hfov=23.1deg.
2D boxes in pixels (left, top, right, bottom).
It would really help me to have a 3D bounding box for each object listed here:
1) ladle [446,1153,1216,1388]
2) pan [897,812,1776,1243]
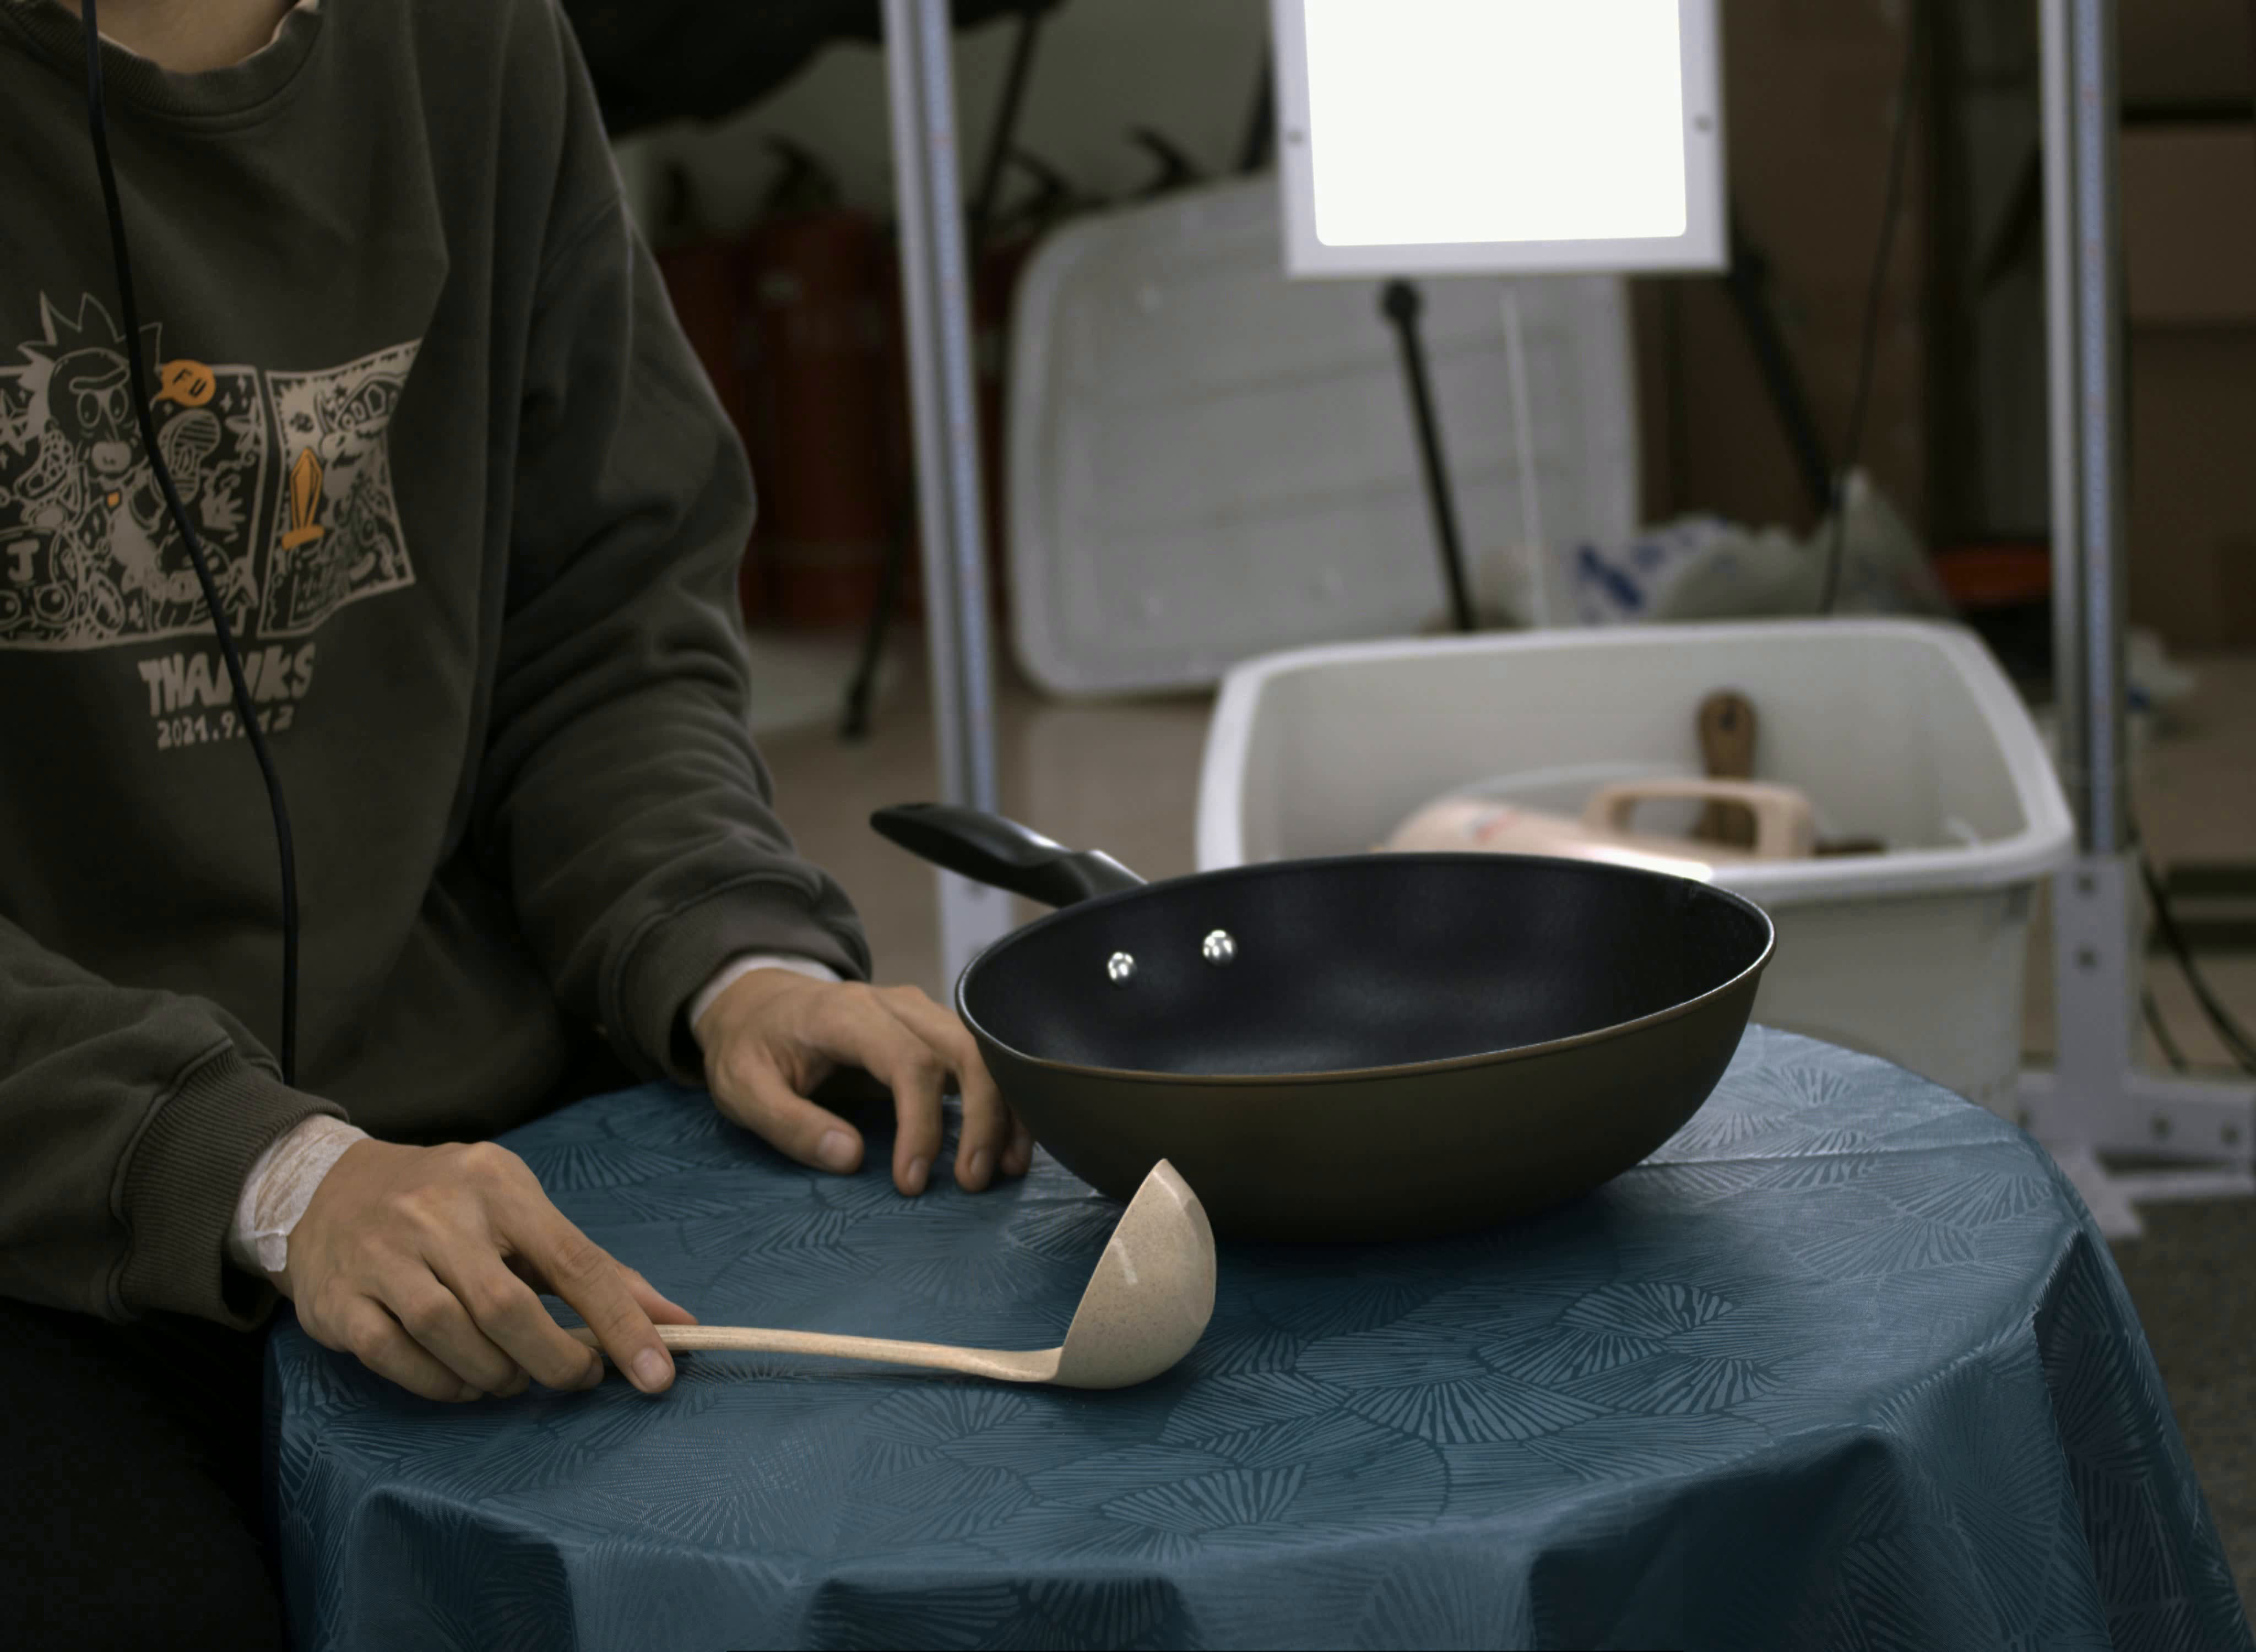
[{"bbox_3d":[-0.099,0.139,1.730,0.257,0.073,0.071,-1,19,16],"label":"ladle"},{"bbox_3d":[0.034,0.067,1.953,0.282,0.087,0.472,-13,15,-29],"label":"pan"}]
